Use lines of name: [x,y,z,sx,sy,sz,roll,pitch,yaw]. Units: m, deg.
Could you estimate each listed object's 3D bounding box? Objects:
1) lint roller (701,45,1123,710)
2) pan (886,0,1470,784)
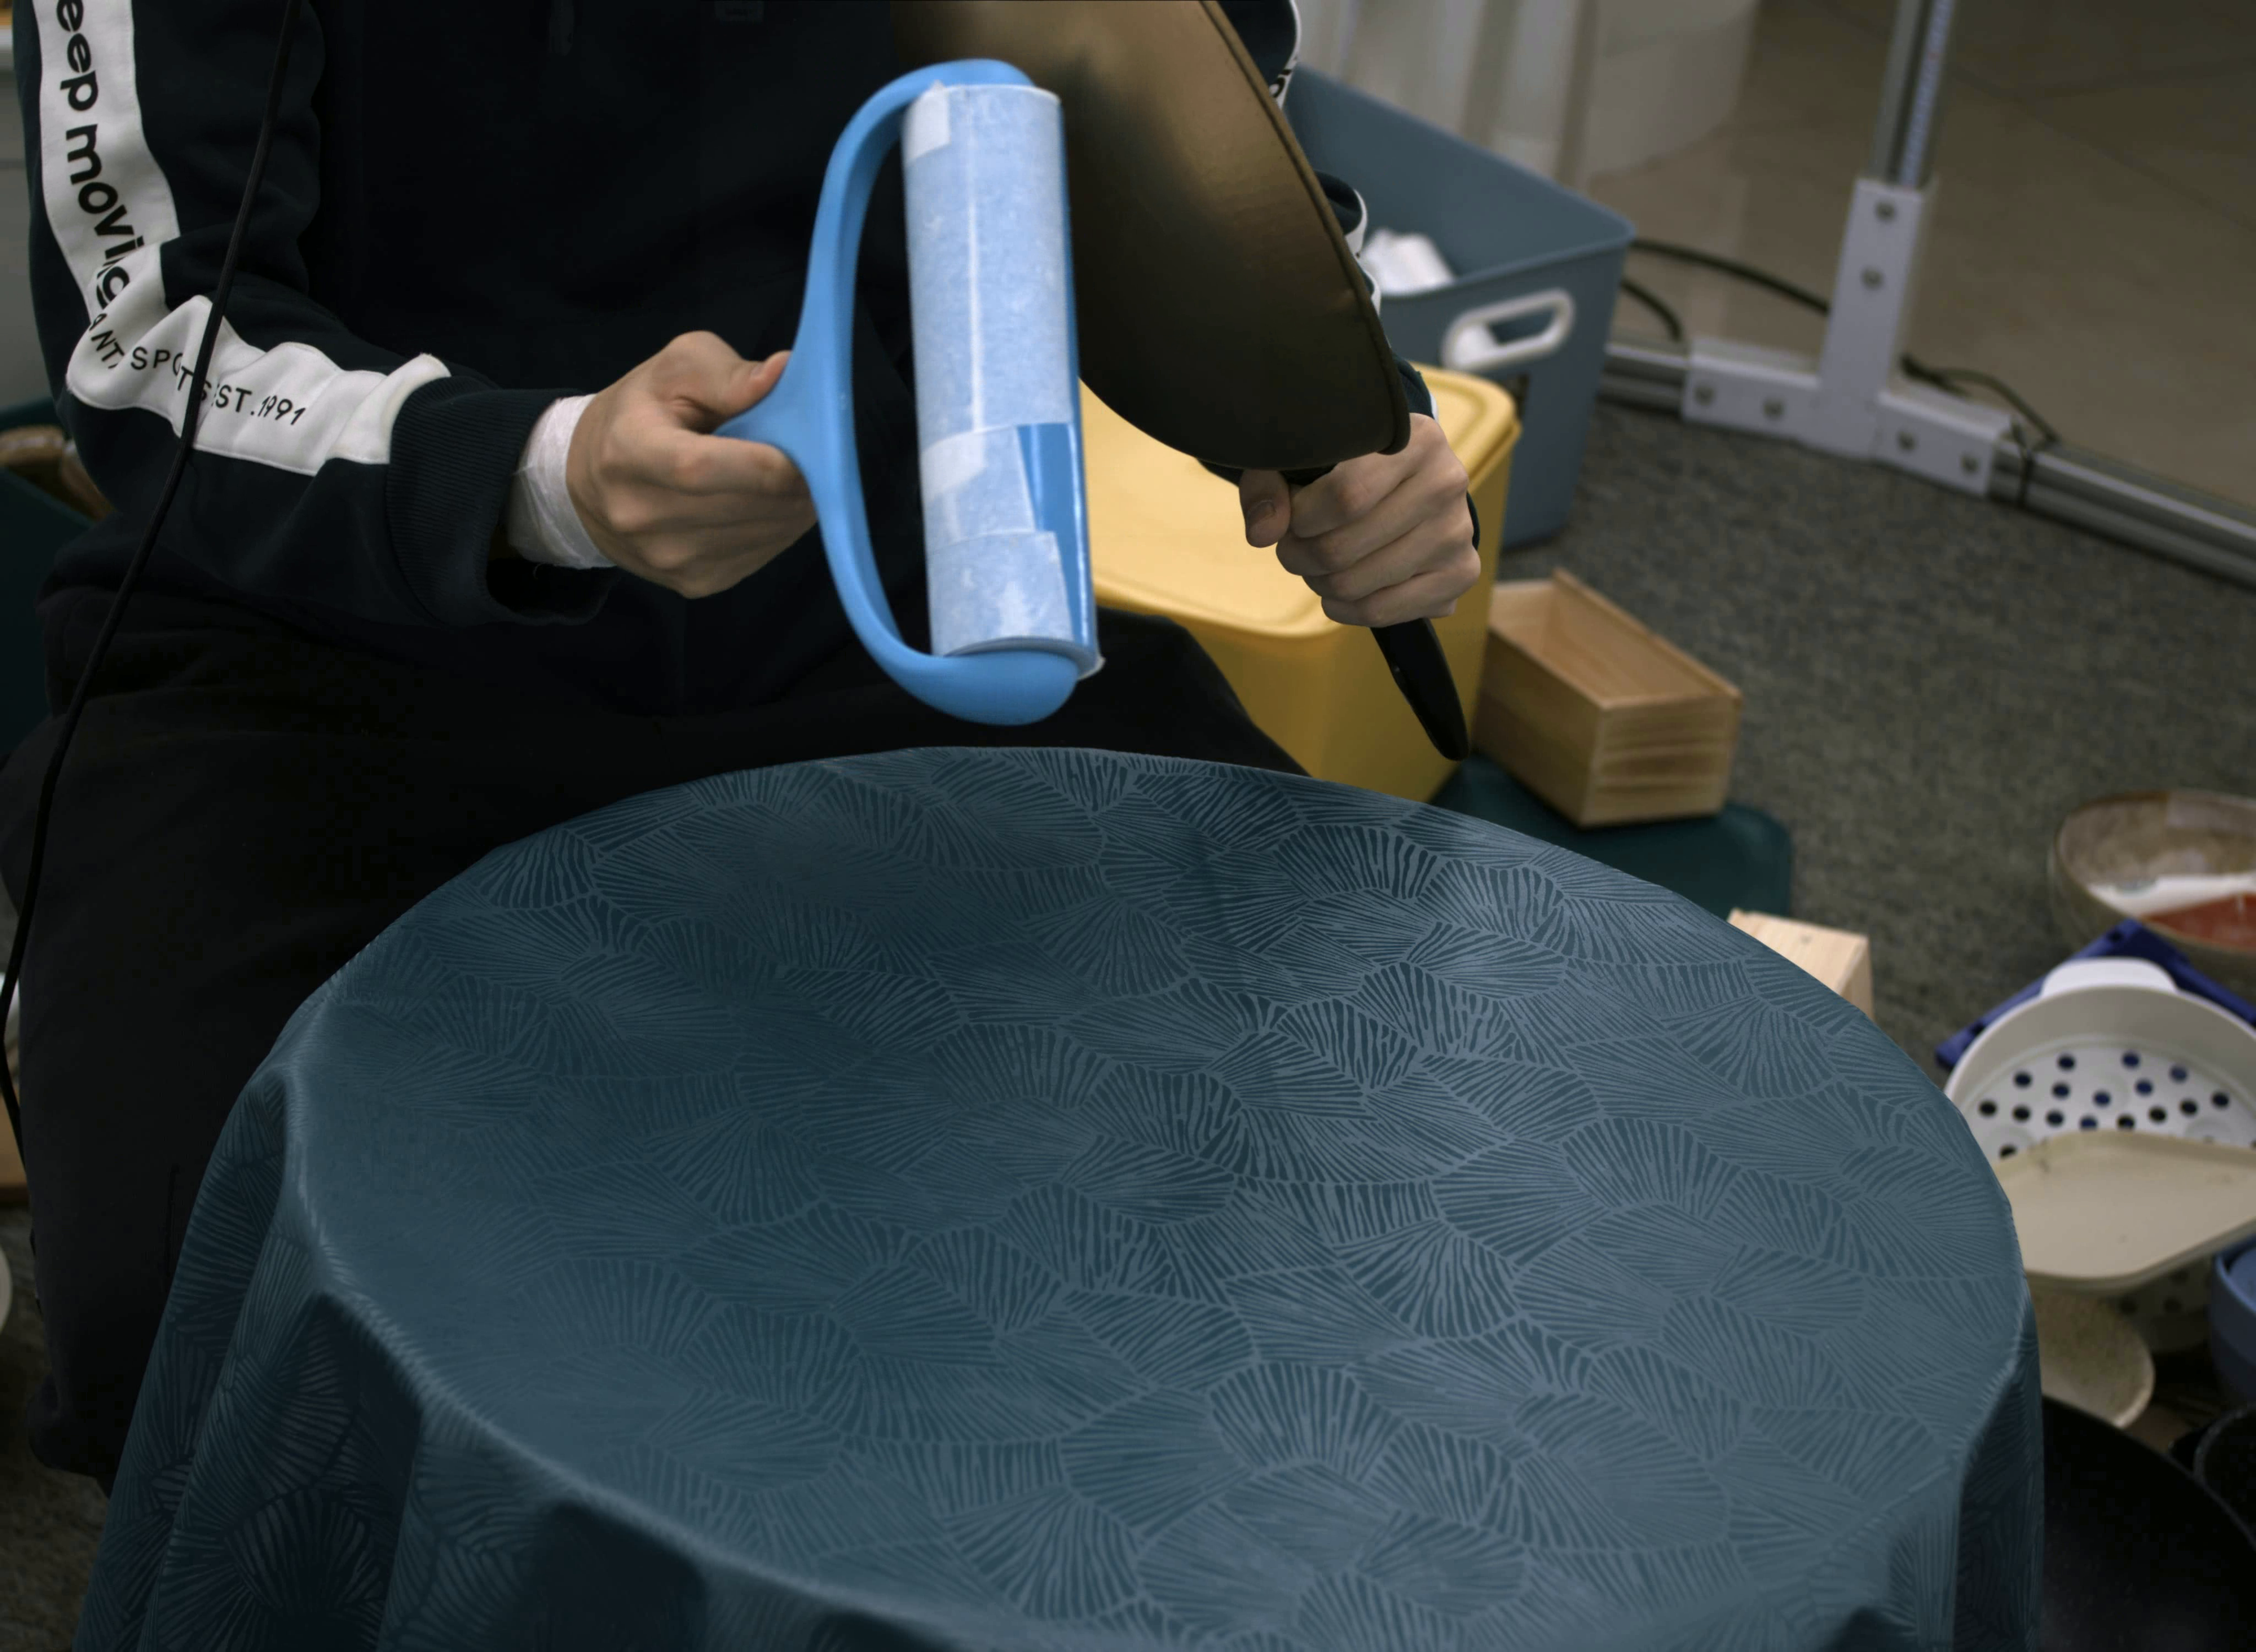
lint roller: [-0.087,-0.132,1.769,0.180,0.230,0.067,-19,-19,31]
pan: [0.020,-0.171,1.954,0.087,0.459,0.291,-31,40,-6]
